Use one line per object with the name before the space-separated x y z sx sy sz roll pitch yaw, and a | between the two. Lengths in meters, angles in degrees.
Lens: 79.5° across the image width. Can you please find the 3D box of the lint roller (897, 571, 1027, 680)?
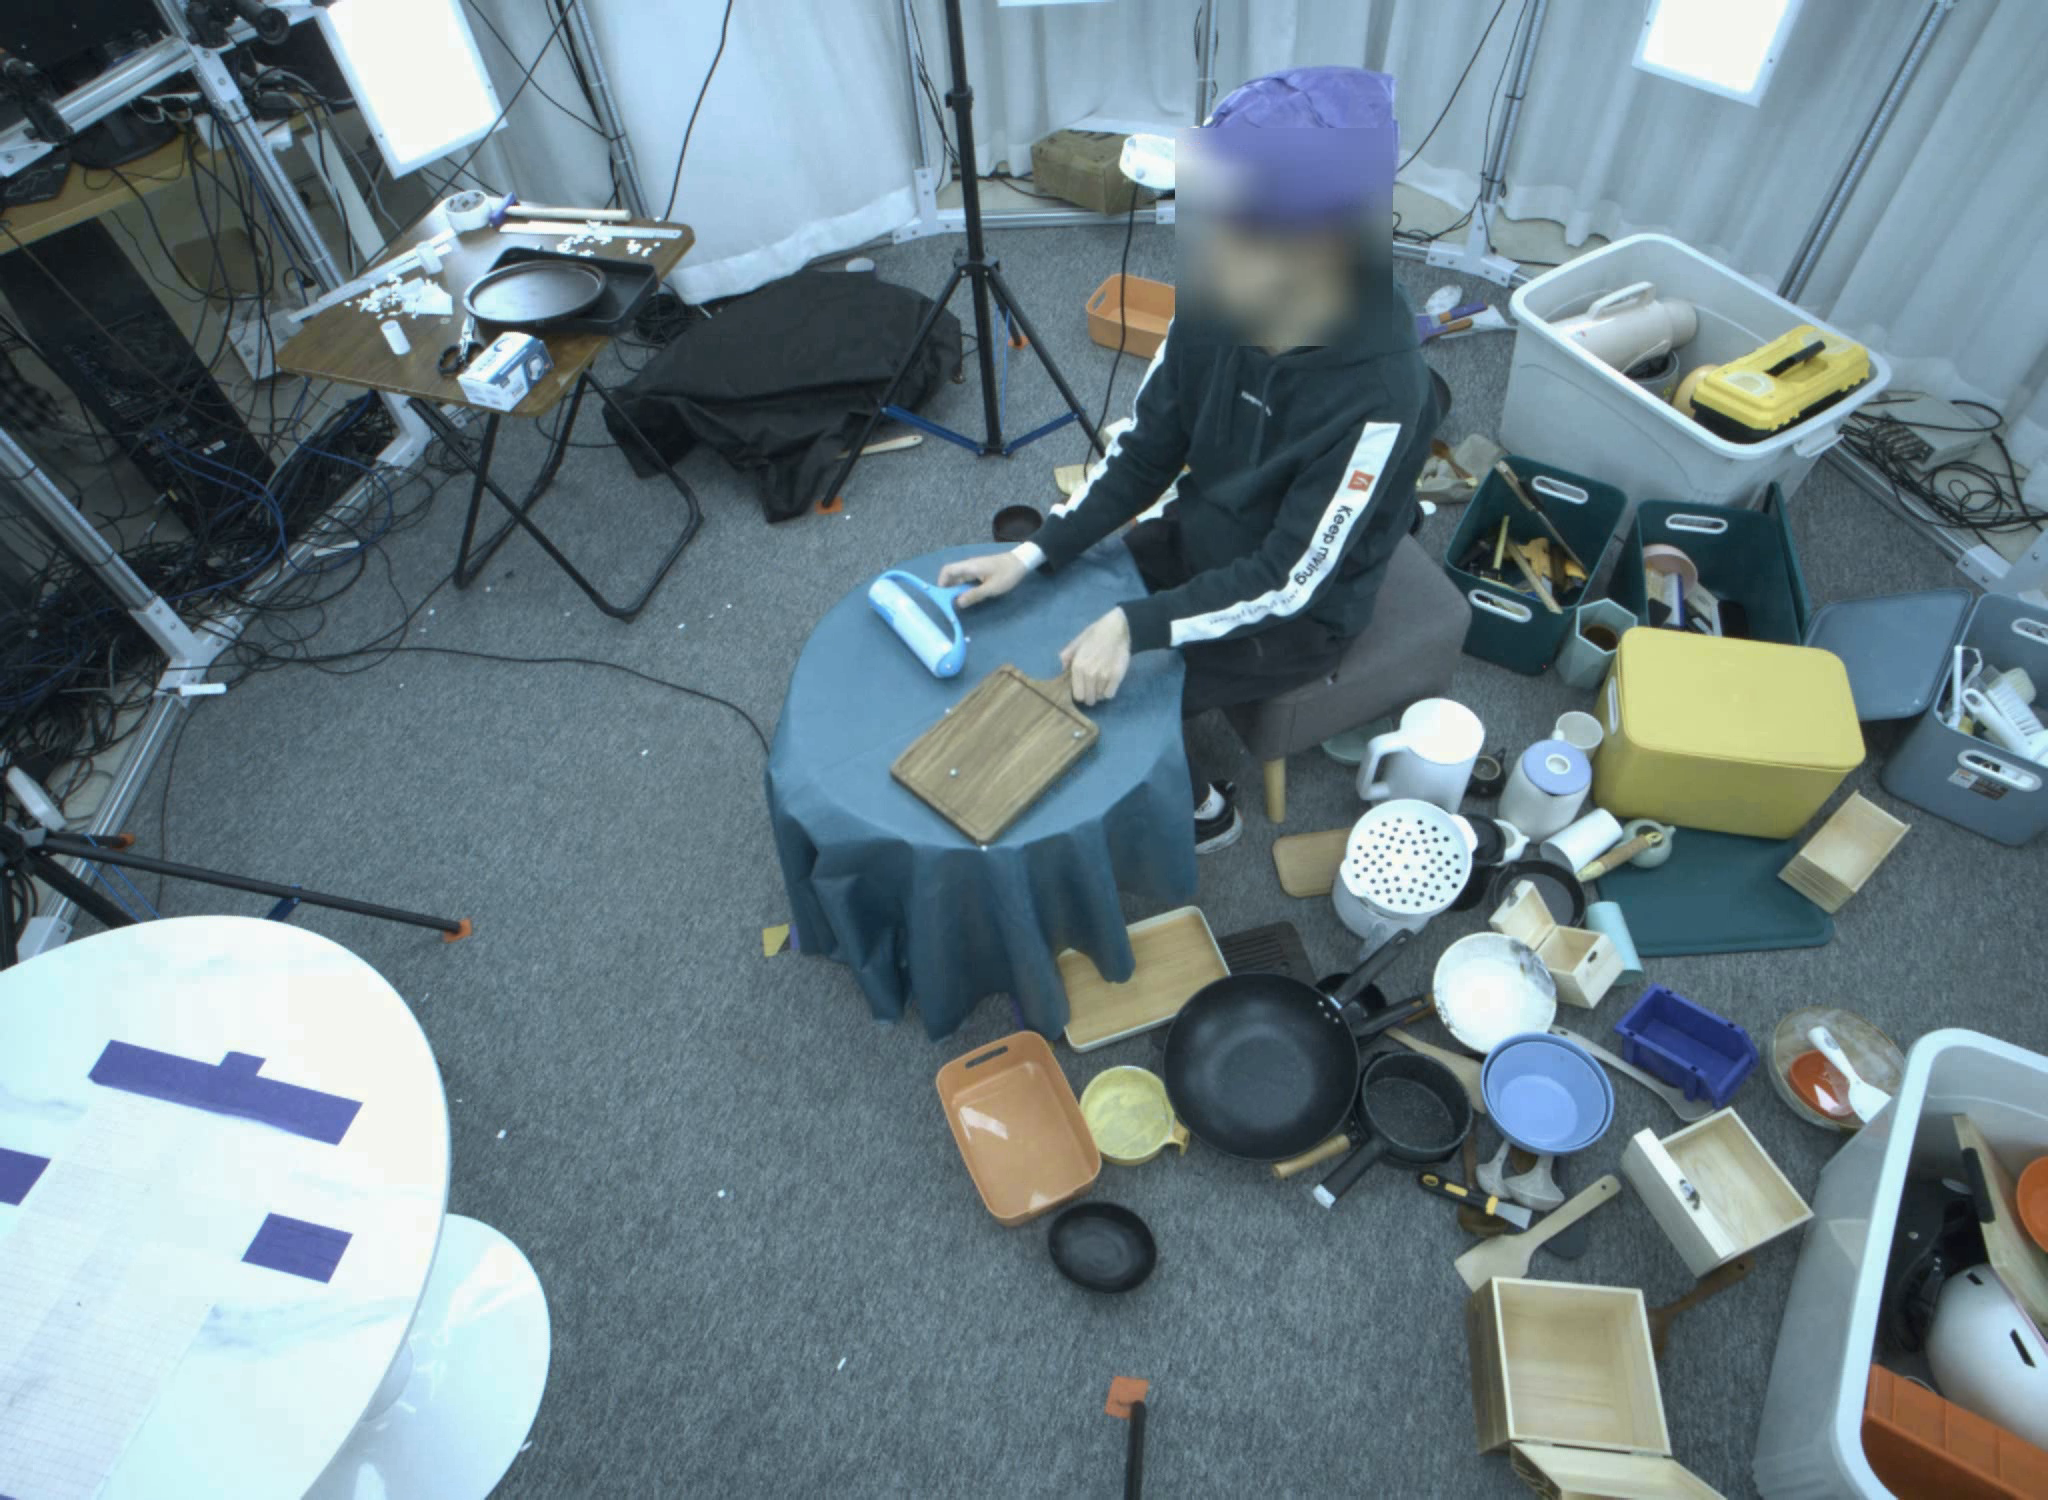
lint roller | -0.077 -0.220 1.905 0.181 0.069 0.224 -34 59 -18

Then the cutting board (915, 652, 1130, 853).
cutting board | 0.032 -0.024 1.774 0.197 0.023 0.354 38 67 24
